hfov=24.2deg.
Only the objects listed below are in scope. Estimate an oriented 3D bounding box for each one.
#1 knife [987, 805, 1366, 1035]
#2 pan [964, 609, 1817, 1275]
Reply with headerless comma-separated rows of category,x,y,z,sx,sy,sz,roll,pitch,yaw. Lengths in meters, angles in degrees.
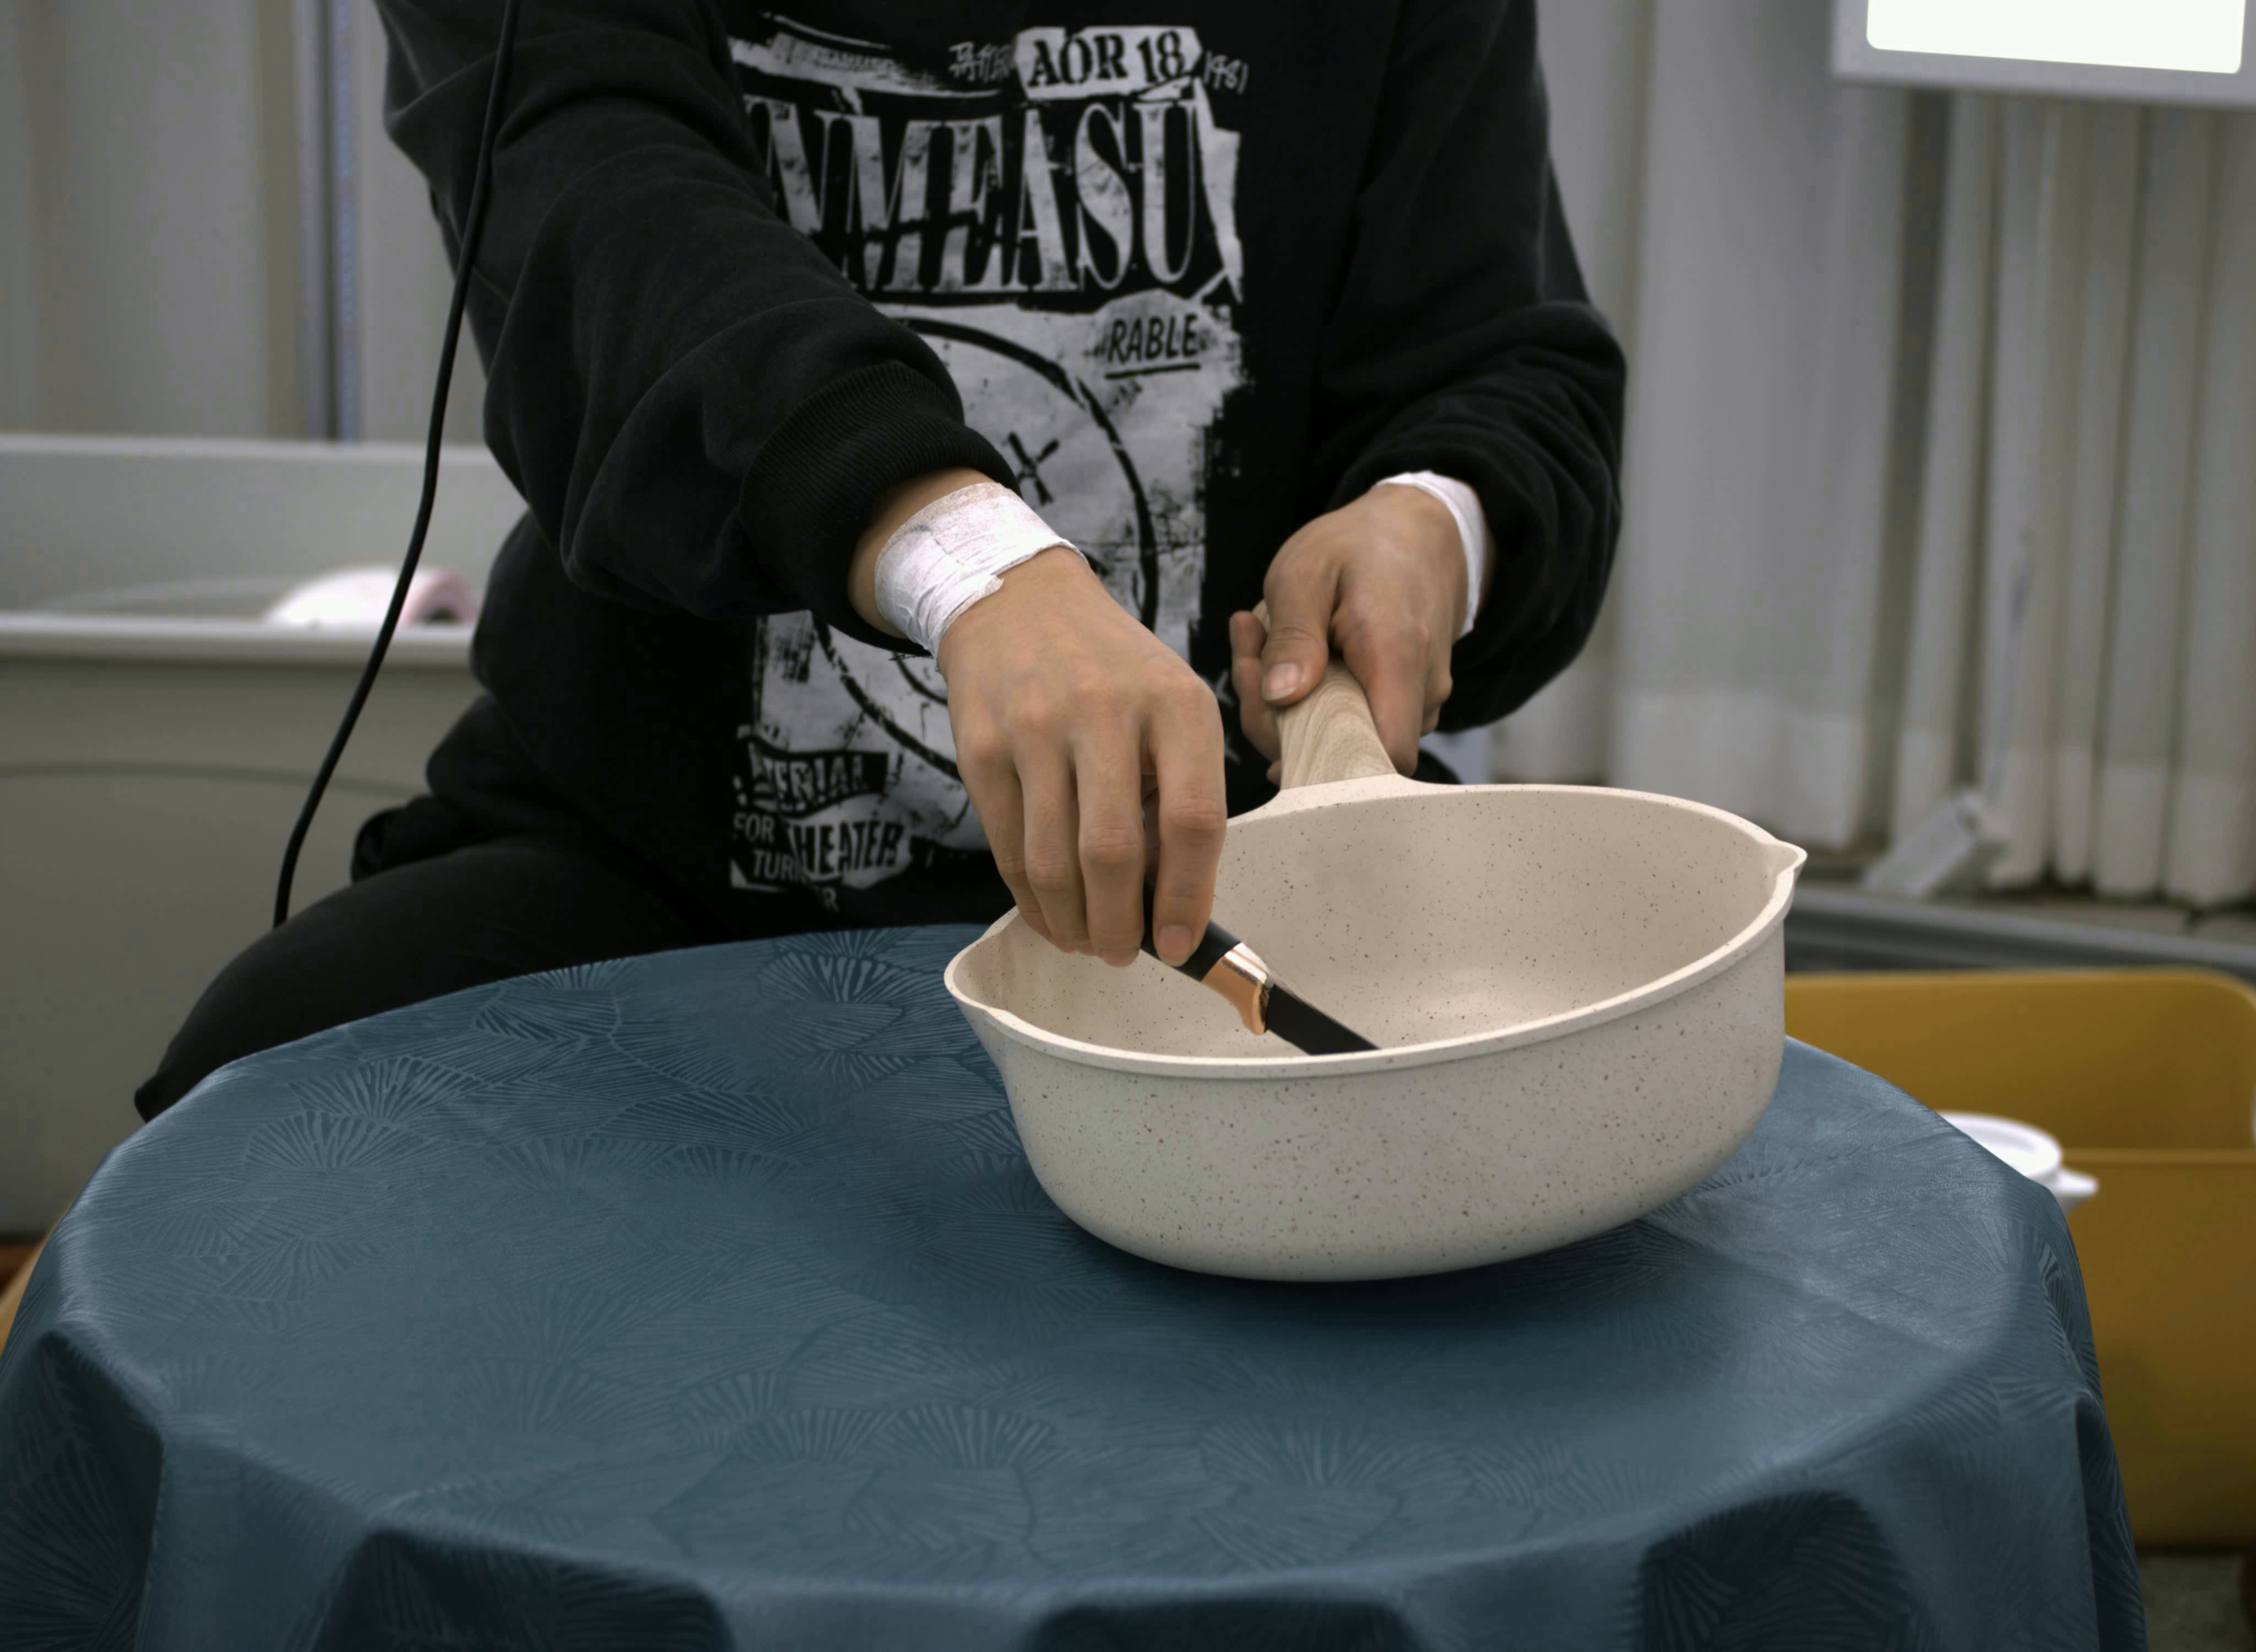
knife,0.045,0.054,1.585,0.223,0.026,0.017,32,40,23
pan,0.079,0.030,1.684,0.262,0.103,0.432,-10,17,-1
